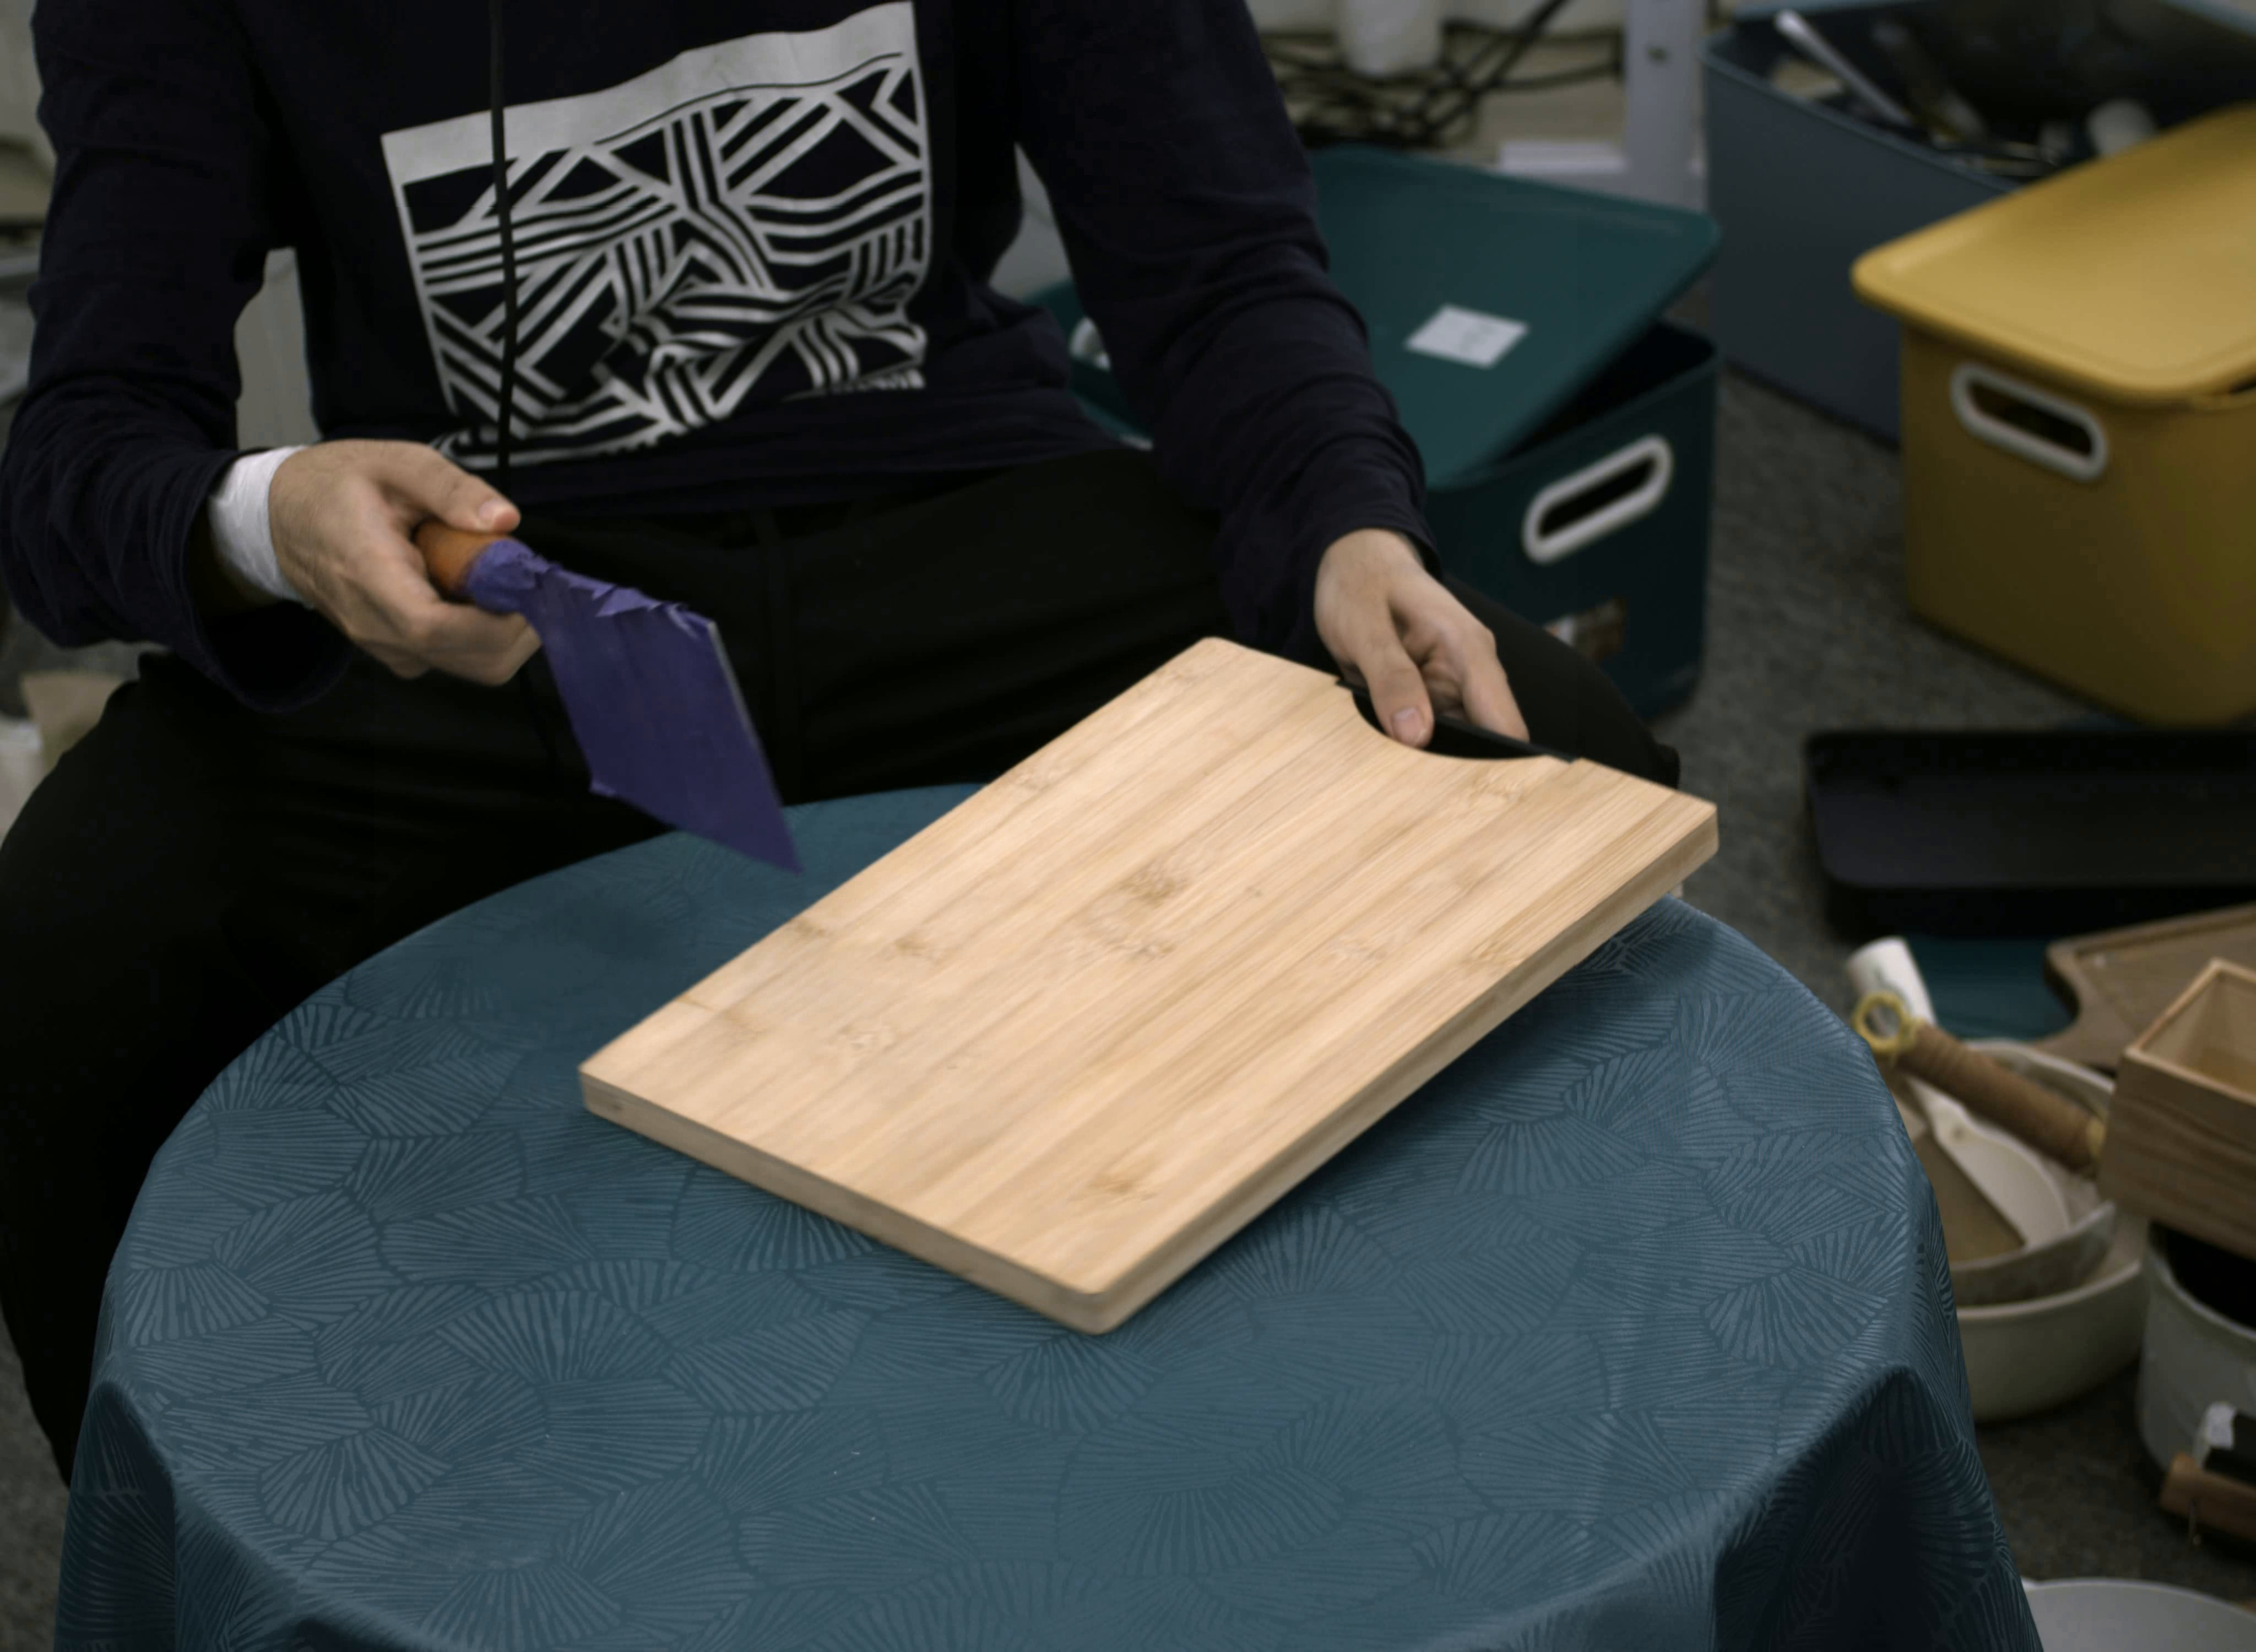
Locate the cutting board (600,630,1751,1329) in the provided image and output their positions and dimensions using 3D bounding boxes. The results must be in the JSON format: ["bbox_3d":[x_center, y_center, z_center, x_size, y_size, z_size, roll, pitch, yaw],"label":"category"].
[{"bbox_3d":[0.018,0.043,1.961,0.250,0.023,0.354,18,39,35],"label":"cutting board"}]

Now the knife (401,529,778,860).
[{"bbox_3d":[-0.183,-0.044,1.883,0.032,0.103,0.315,-21,14,-17],"label":"knife"}]
